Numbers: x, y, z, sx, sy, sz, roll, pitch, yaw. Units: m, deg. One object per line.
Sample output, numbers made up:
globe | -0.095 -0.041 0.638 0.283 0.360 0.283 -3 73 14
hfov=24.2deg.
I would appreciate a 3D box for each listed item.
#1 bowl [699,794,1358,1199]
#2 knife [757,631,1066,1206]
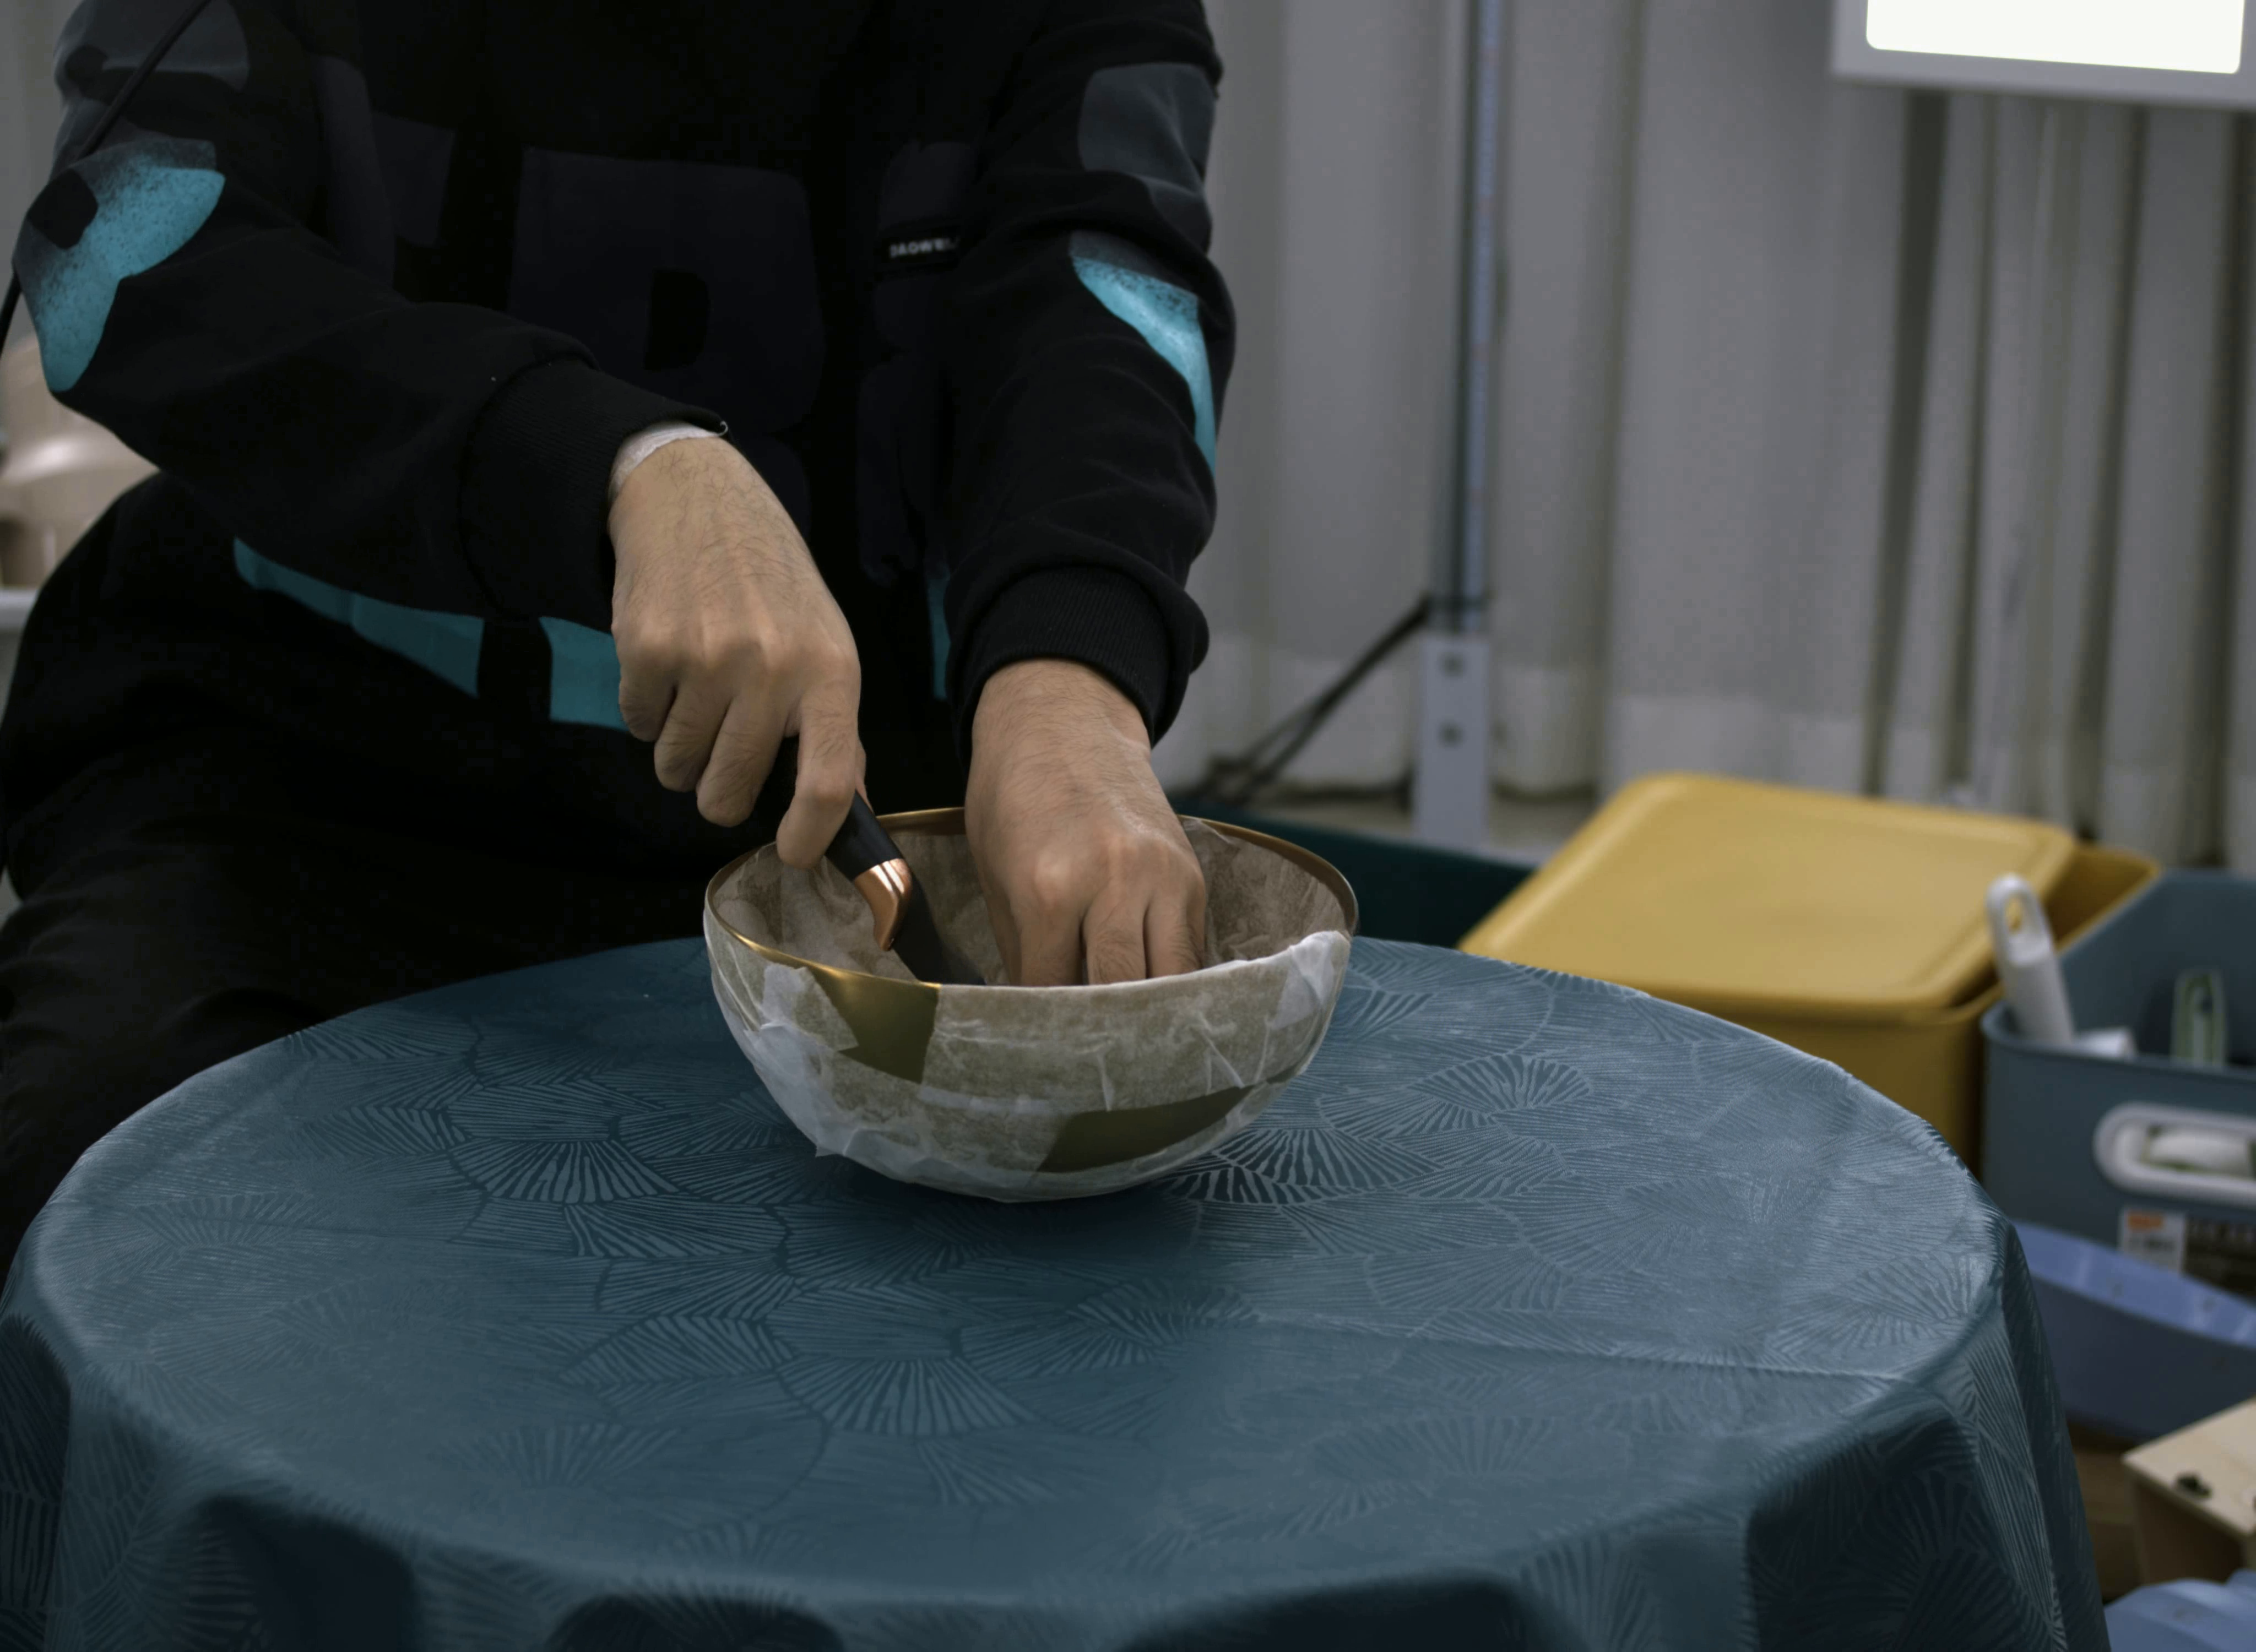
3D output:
bowl | -0.030 0.060 1.632 0.214 0.095 0.213 -1 16 1
knife | -0.064 0.026 1.634 0.026 0.017 0.223 -24 61 -12
